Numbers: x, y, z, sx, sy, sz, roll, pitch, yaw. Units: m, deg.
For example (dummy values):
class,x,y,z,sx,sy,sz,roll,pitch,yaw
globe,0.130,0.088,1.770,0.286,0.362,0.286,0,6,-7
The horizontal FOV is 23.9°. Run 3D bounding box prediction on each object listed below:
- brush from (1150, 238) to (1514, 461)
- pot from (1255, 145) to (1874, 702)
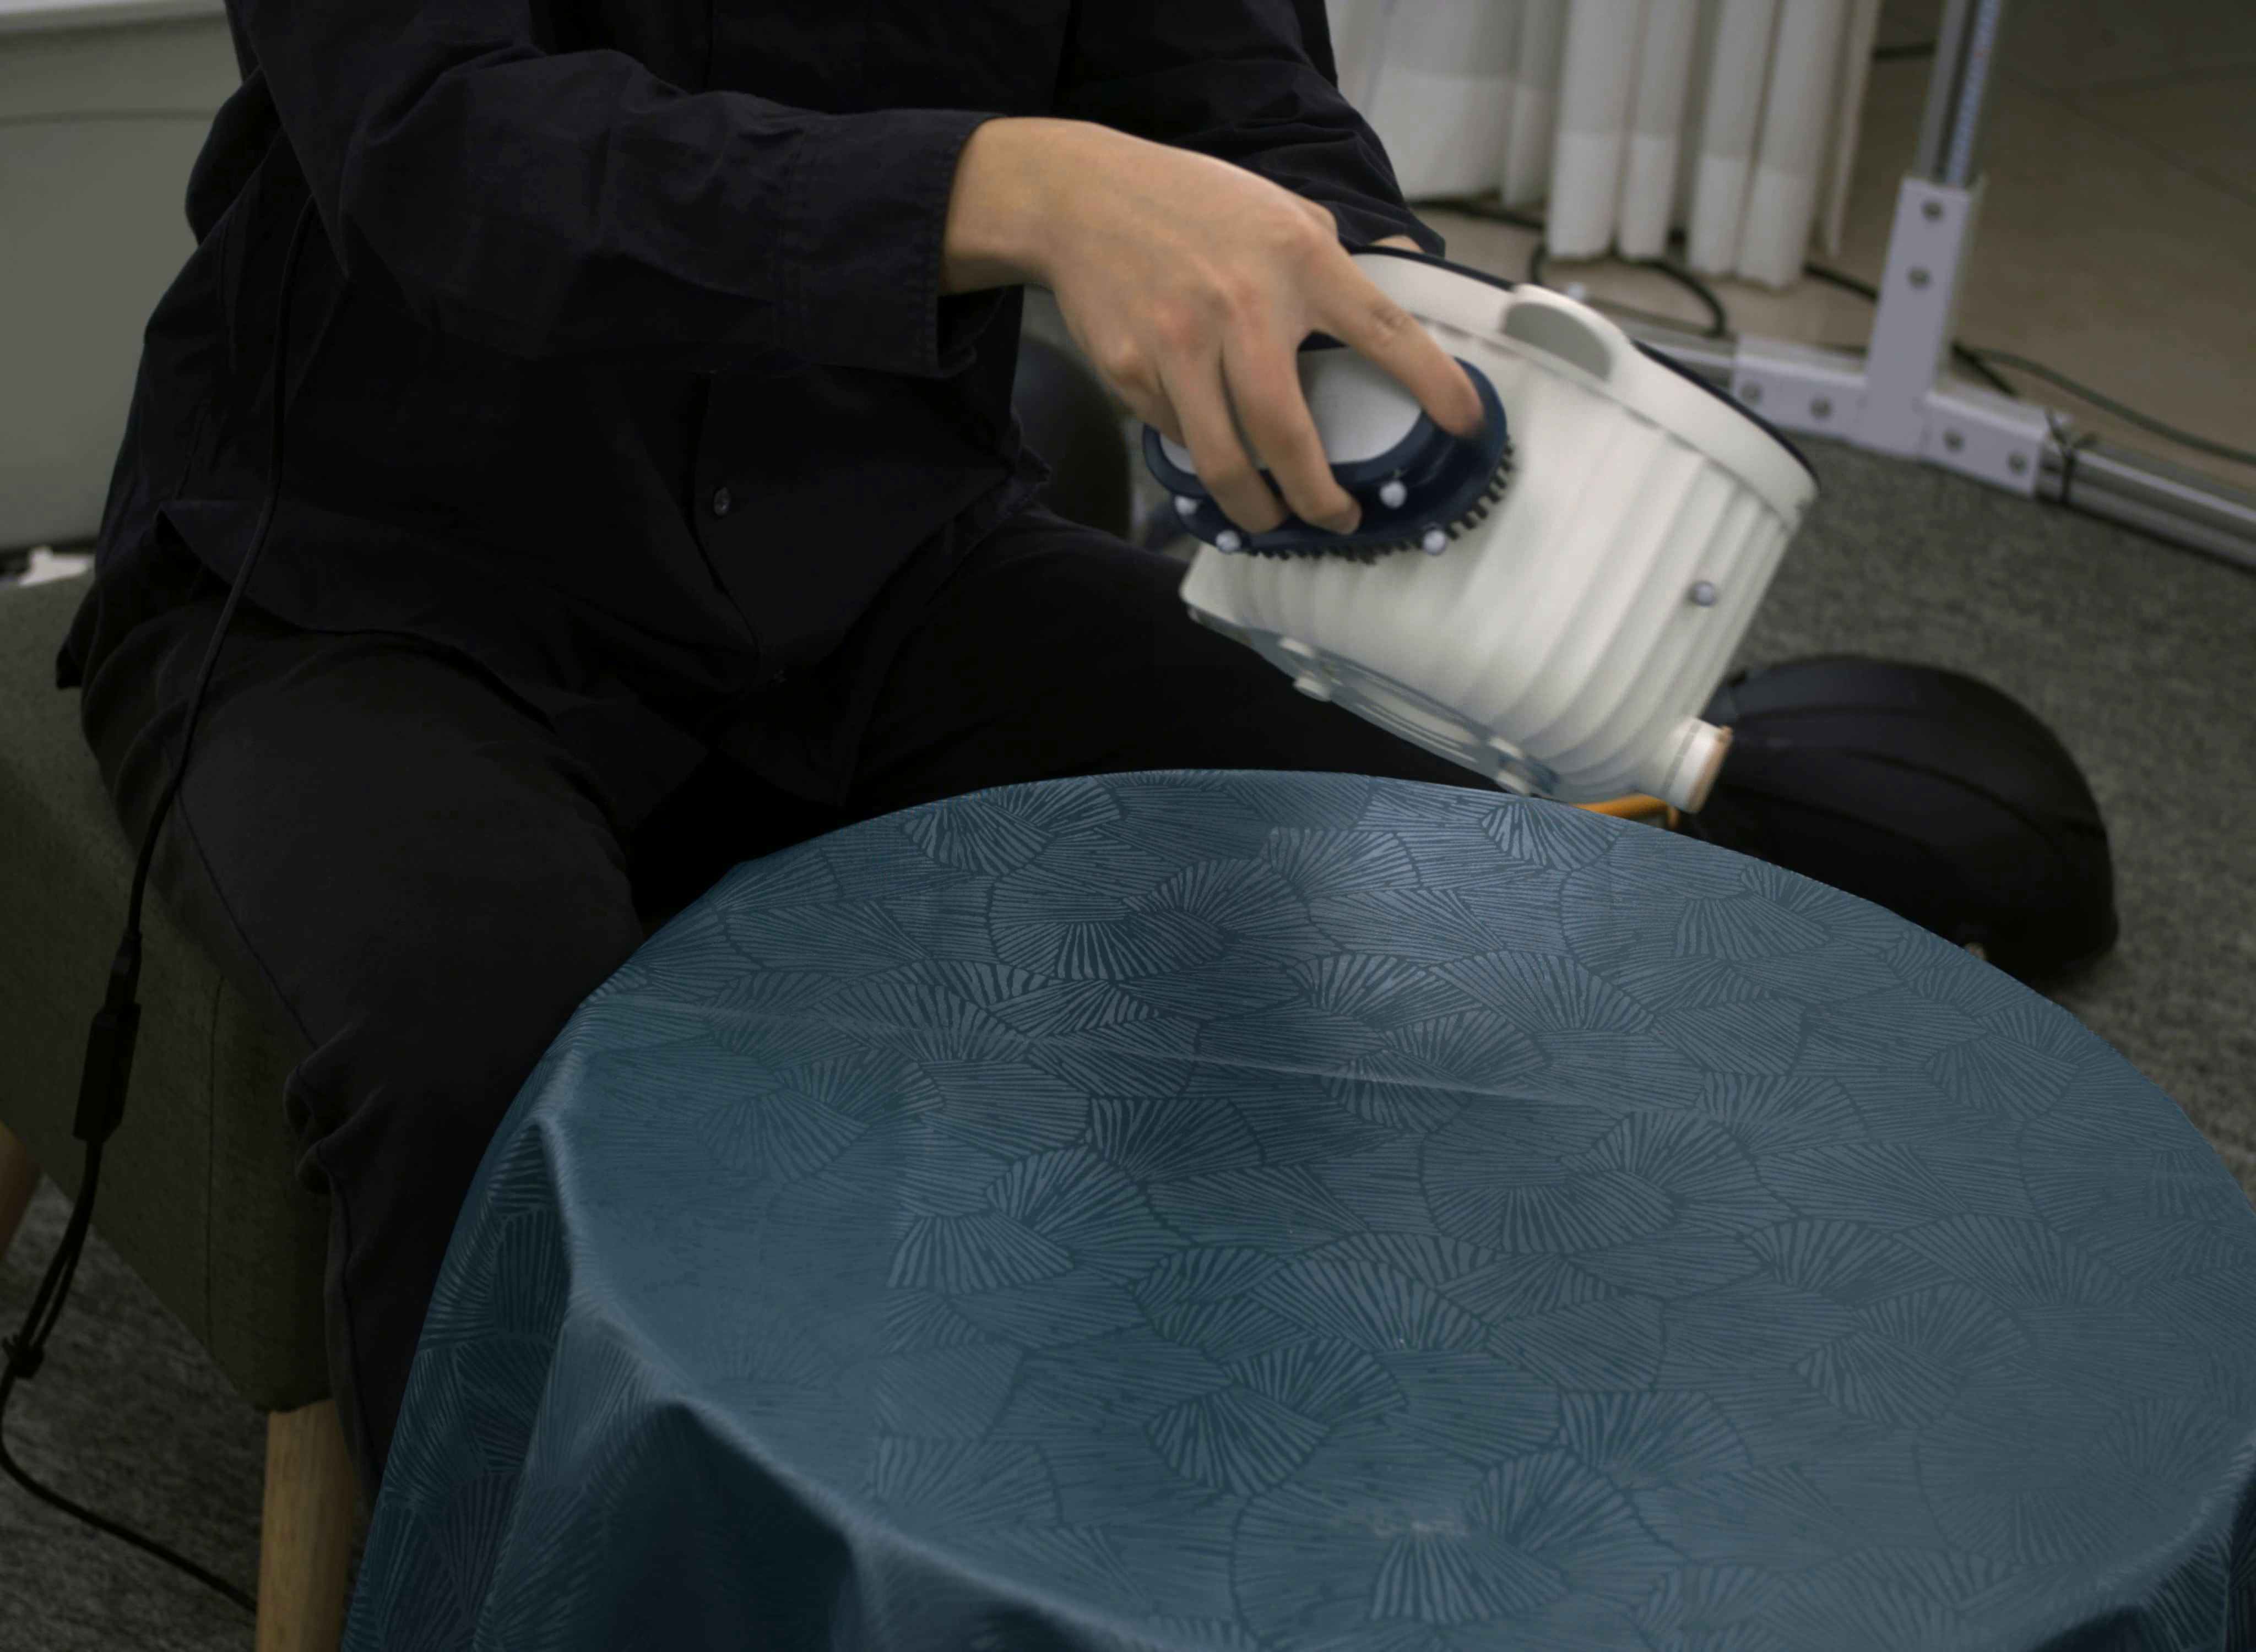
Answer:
class,x,y,z,sx,sy,sz,roll,pitch,yaw
brush,0.068,-0.155,1.756,0.122,0.068,0.060,2,-19,31
pot,0.155,-0.132,1.856,0.190,0.143,0.239,23,-5,8
